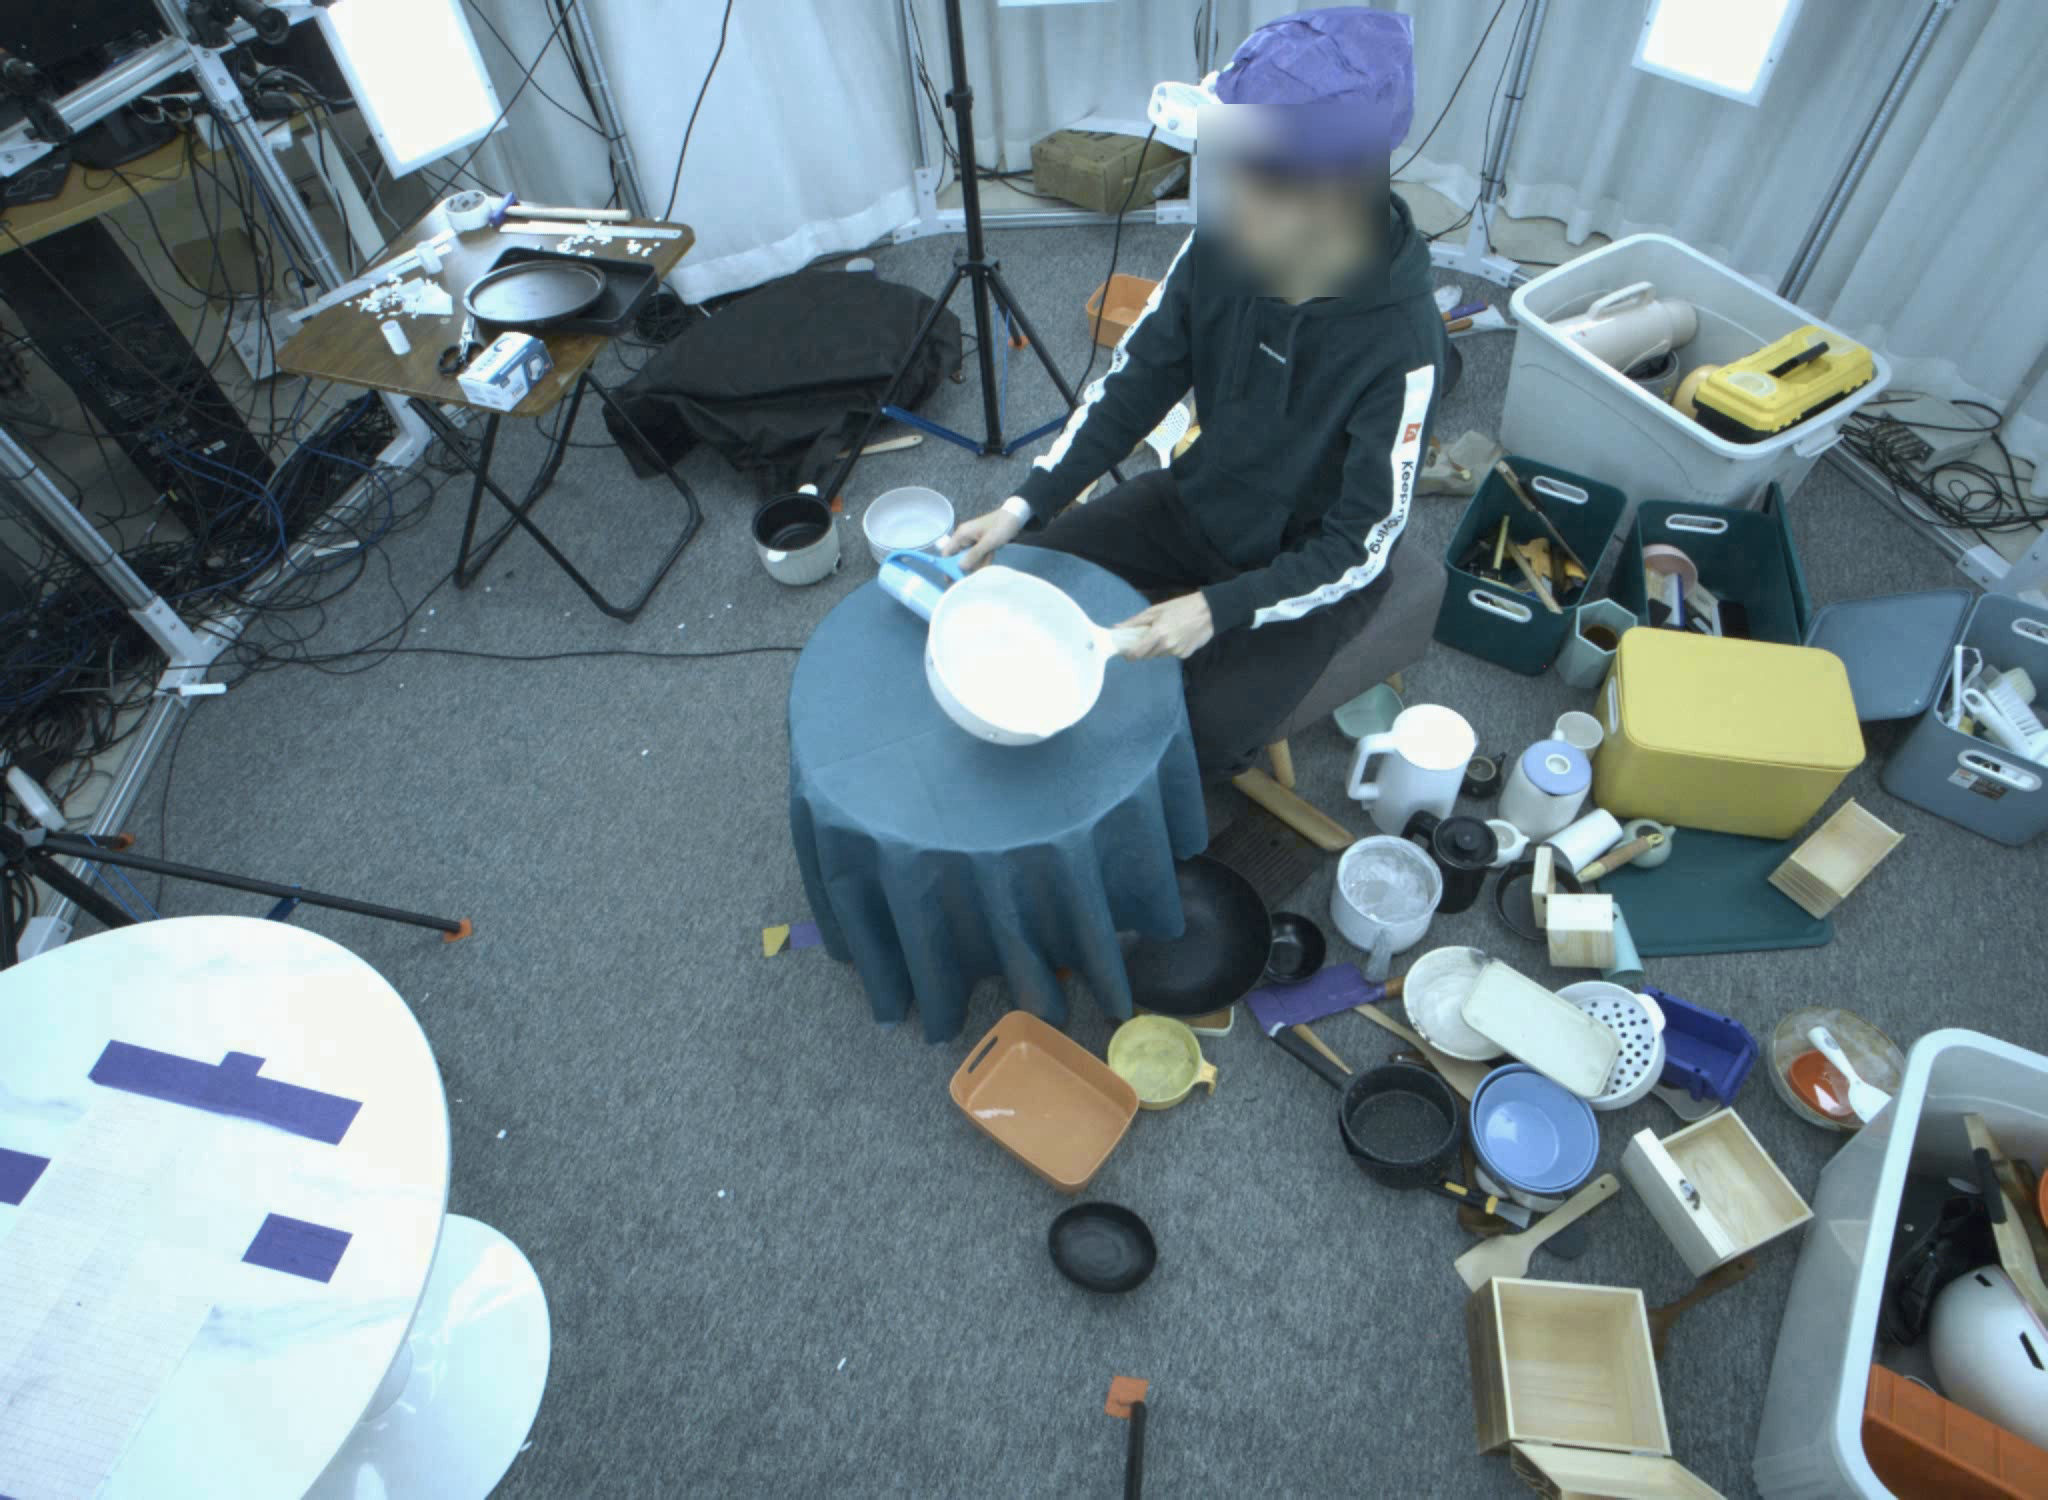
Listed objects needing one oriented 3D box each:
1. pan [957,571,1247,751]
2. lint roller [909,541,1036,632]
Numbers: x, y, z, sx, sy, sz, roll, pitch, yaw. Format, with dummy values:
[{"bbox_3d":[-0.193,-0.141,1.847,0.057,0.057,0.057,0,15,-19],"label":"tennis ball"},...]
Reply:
[{"bbox_3d":[0.110,-0.126,1.718,0.442,0.101,0.261,-7,70,-27],"label":"pan"},{"bbox_3d":[-0.056,-0.268,1.879,0.224,0.069,0.180,35,80,26],"label":"lint roller"}]
